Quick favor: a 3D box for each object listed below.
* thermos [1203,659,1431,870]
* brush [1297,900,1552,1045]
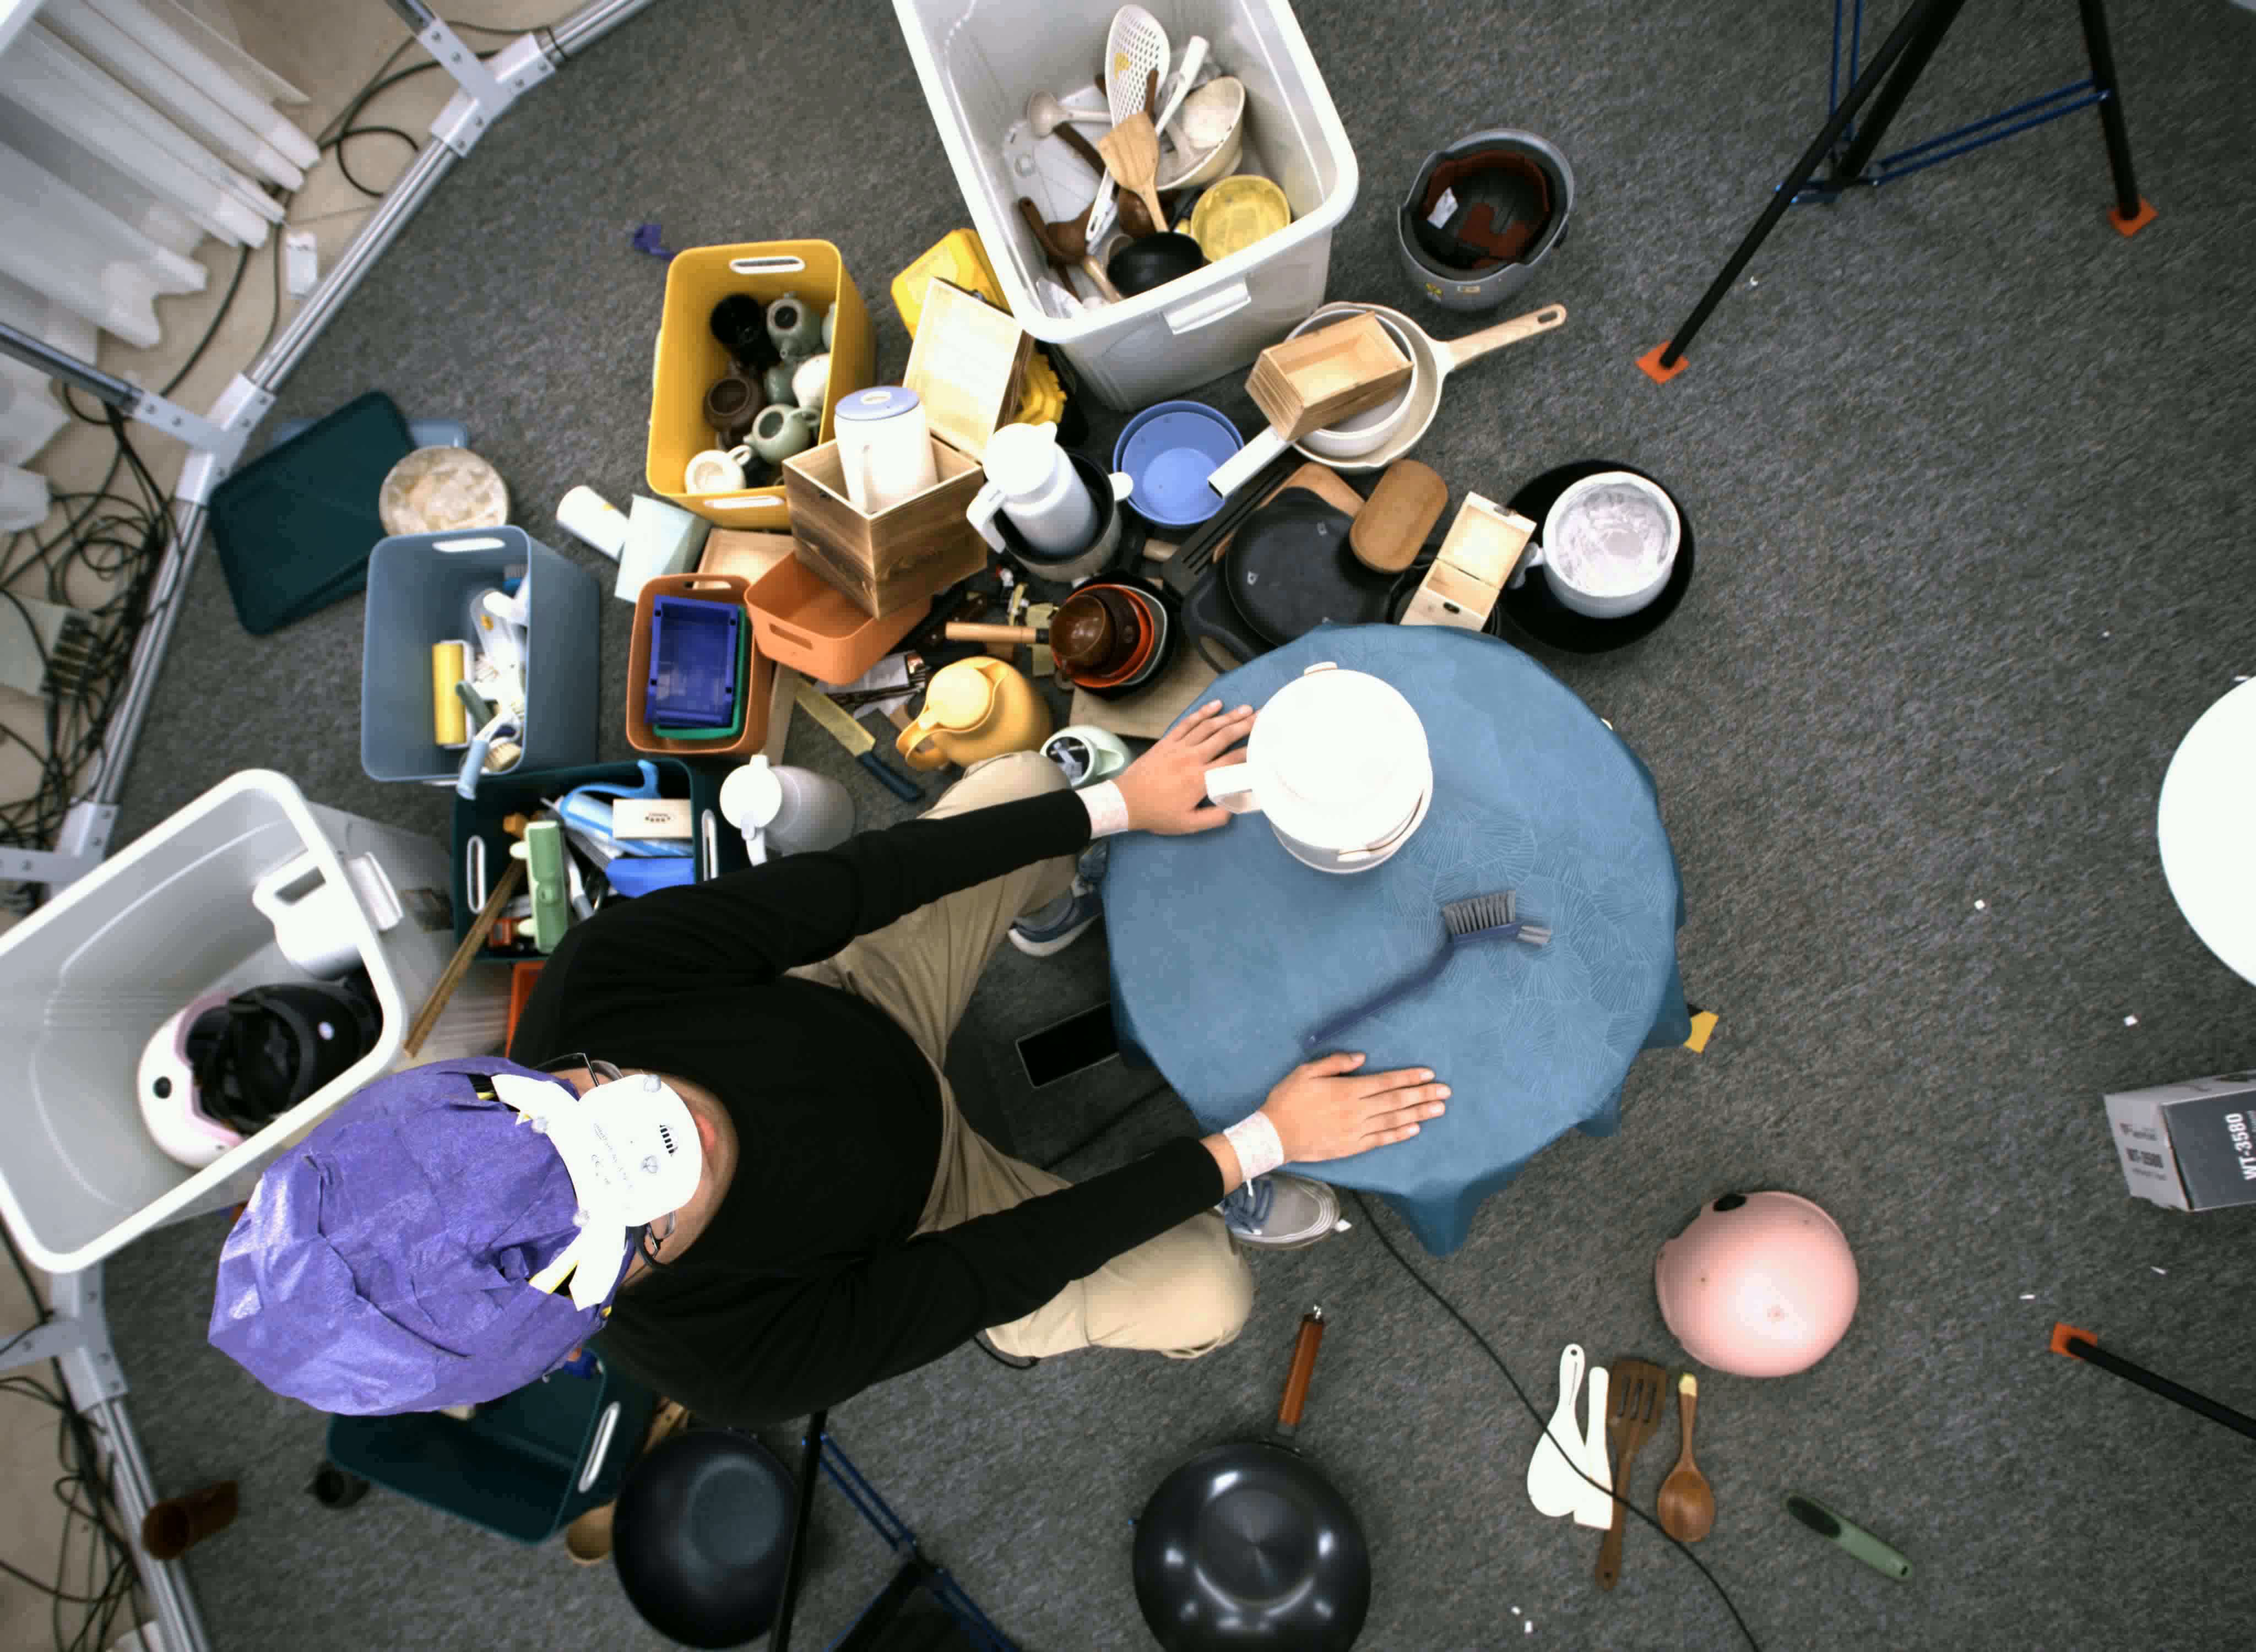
[{"bbox_3d":[0.180,-0.050,1.282,0.208,0.406,0.174,-11,84,8],"label":"thermos"},{"bbox_3d":[0.302,0.167,1.432,0.274,0.033,0.095,-37,80,4],"label":"brush"}]
